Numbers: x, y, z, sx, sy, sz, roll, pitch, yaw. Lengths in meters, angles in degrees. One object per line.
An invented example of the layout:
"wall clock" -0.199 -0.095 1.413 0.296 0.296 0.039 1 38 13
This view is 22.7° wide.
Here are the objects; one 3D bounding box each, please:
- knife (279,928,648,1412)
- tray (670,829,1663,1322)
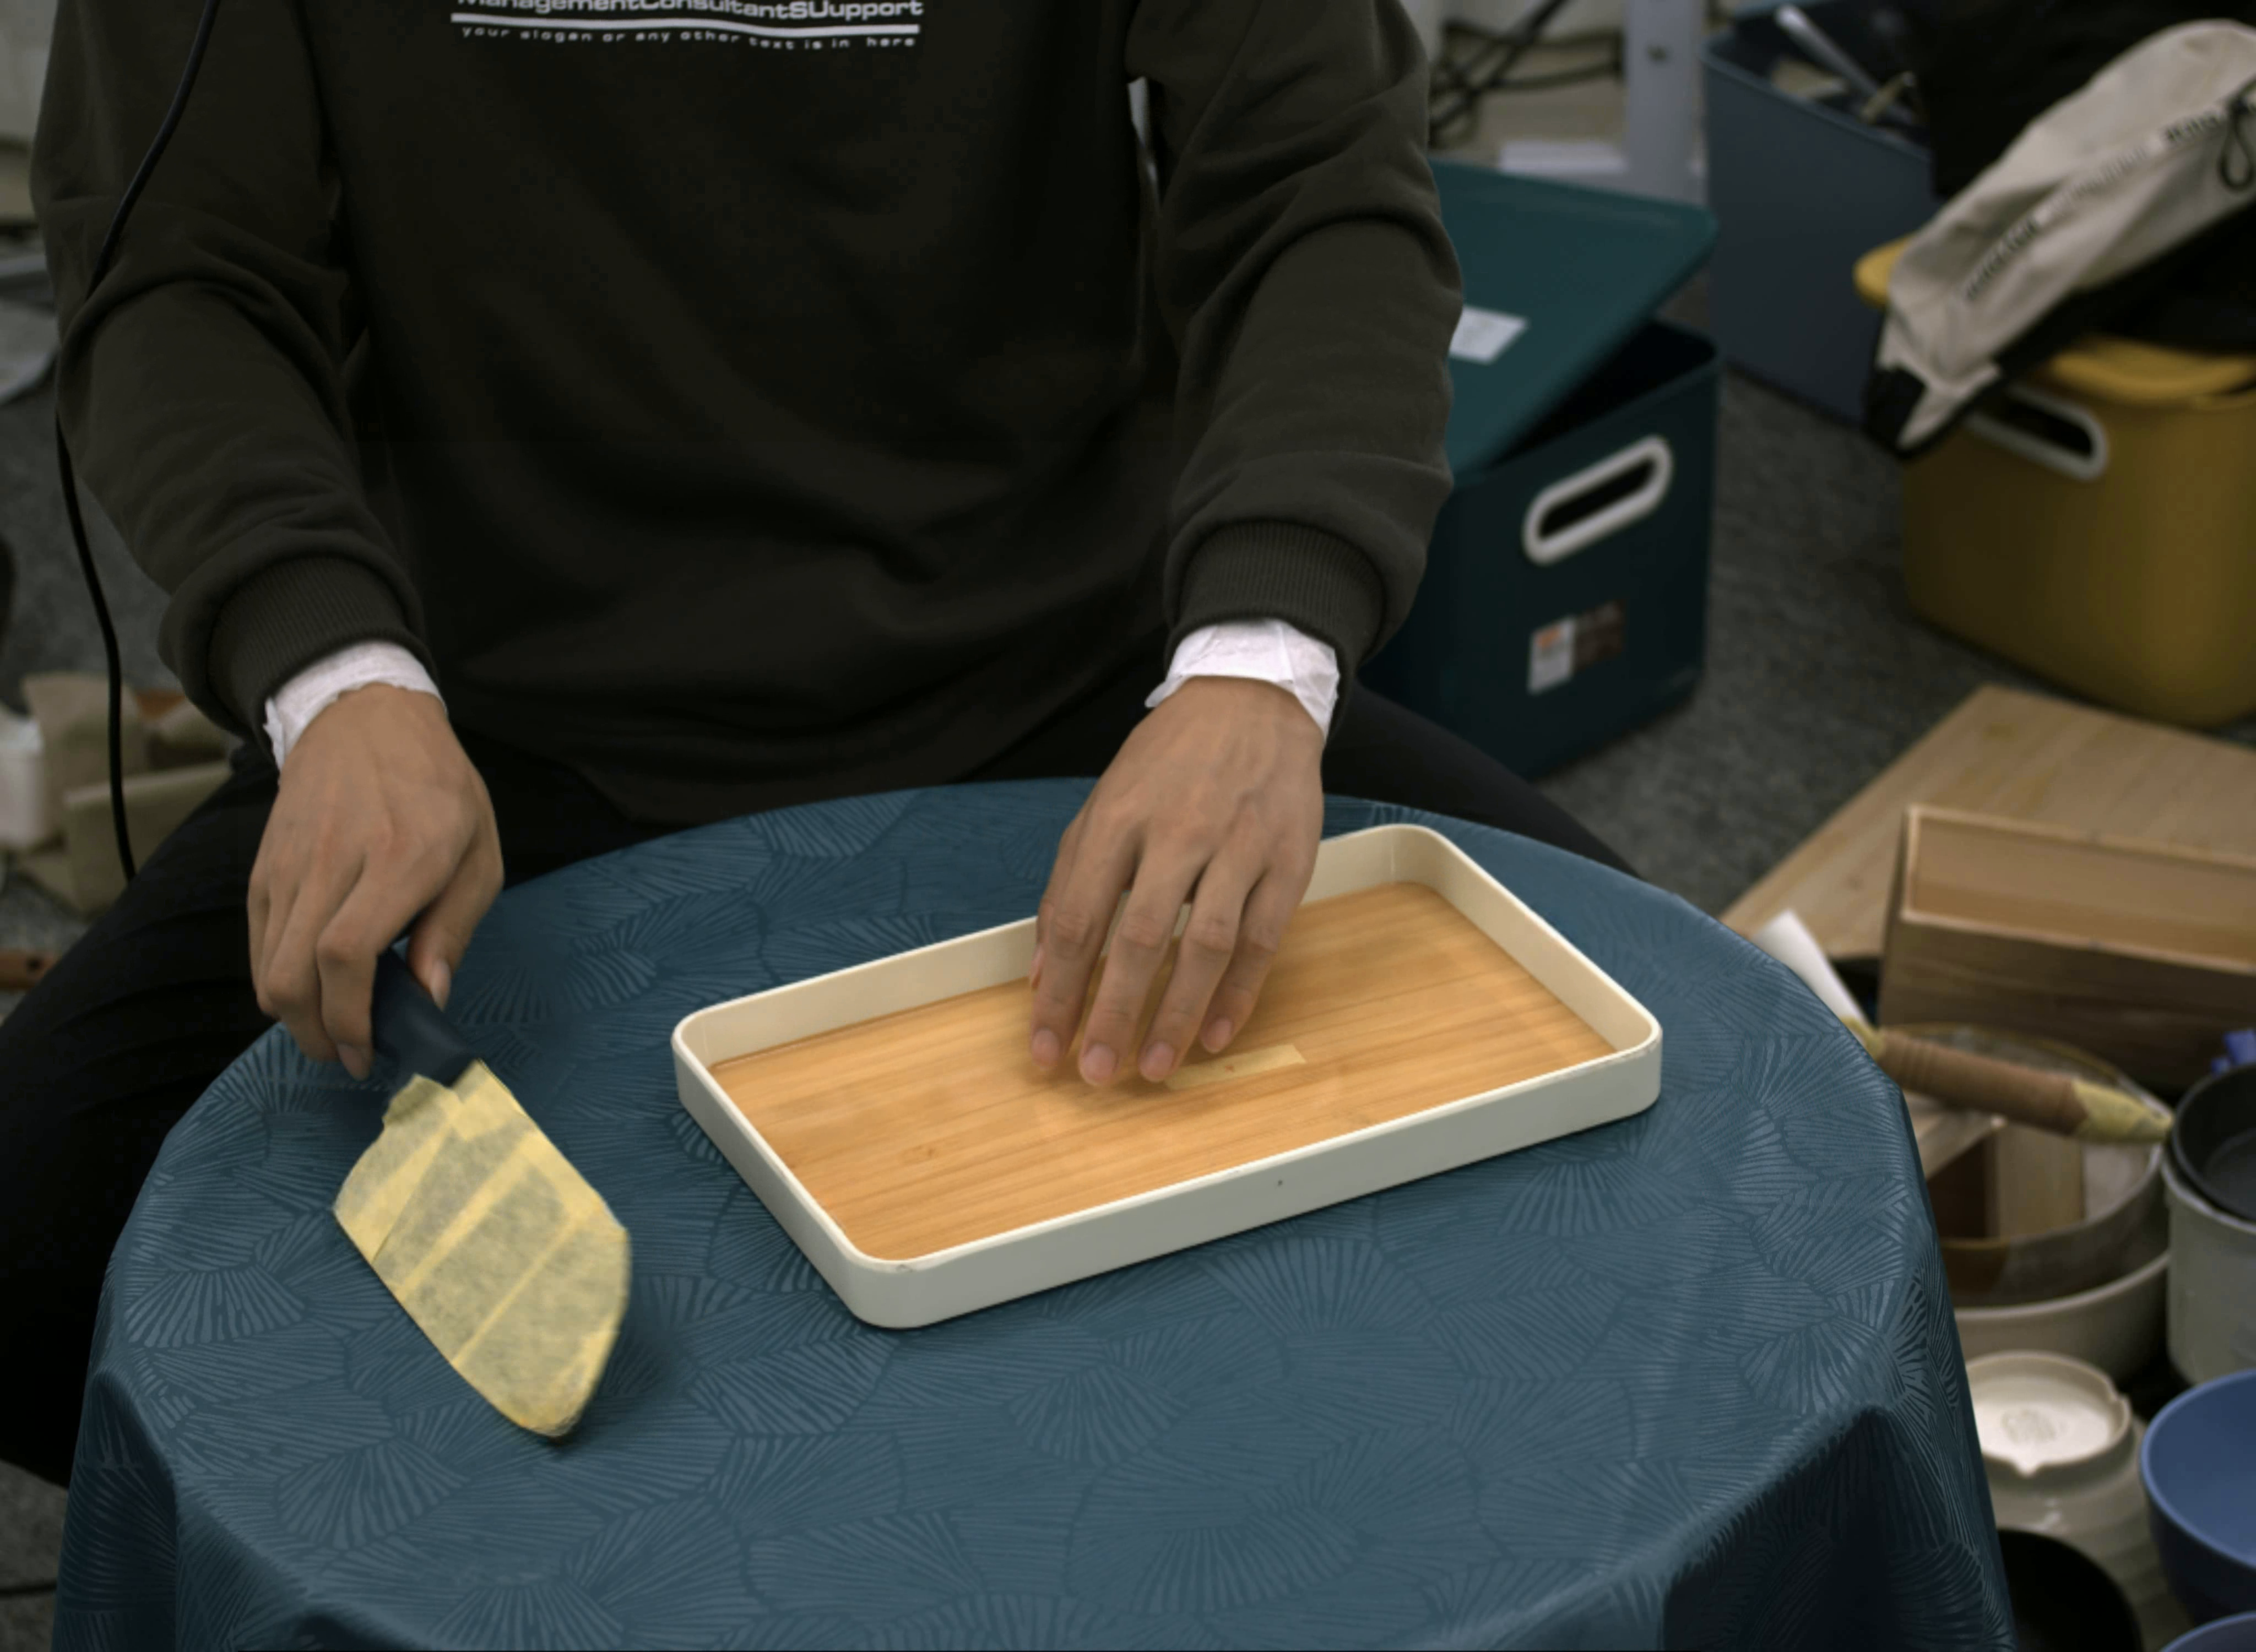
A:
"knife" -0.229 0.111 1.849 0.081 0.027 0.291 -42 39 -3
"tray" 0.012 0.080 1.912 0.301 0.027 0.192 -14 28 -22
